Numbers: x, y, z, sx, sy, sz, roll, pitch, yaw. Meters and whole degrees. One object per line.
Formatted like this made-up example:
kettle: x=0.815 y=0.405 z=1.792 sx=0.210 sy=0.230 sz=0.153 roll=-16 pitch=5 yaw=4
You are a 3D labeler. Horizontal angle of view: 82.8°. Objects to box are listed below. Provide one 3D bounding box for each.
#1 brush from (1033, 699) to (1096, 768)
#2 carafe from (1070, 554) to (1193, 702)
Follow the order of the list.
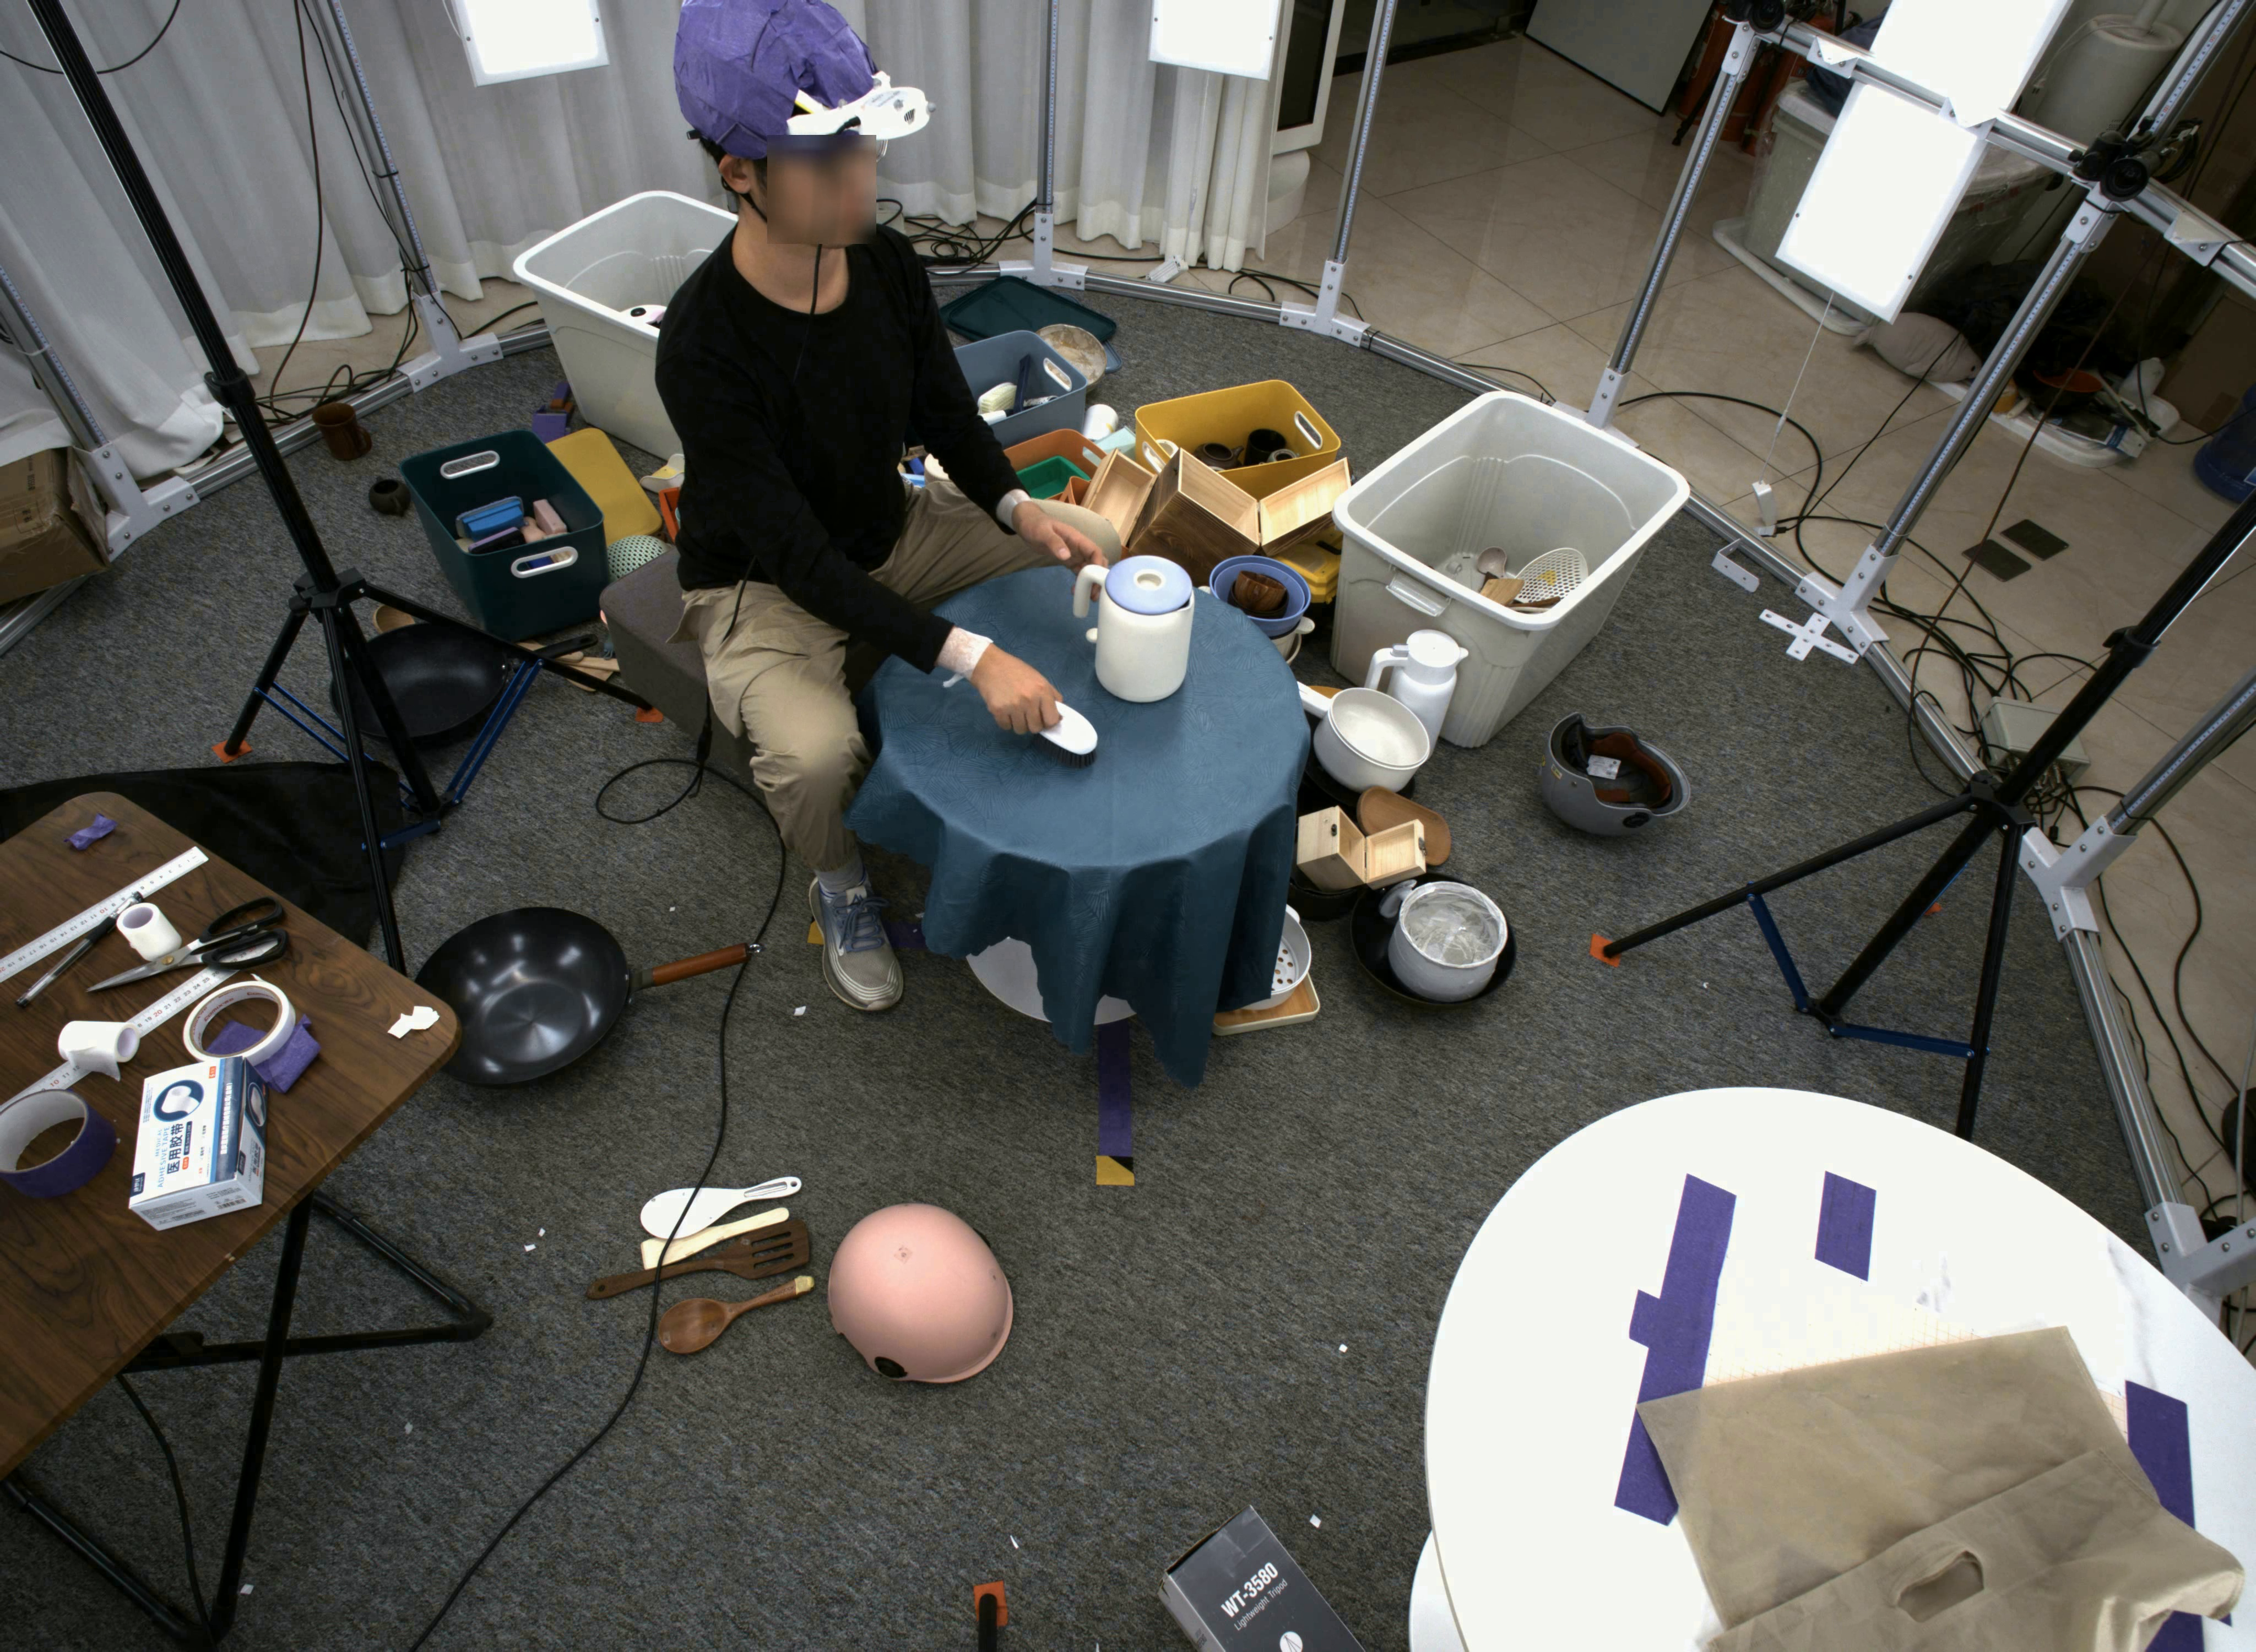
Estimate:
brush: x=-0.086 y=-0.133 z=1.731 sx=0.100 sy=0.071 sz=0.051 roll=34 pitch=56 yaw=23
carafe: x=0.001 y=-0.288 z=1.809 sx=0.193 sy=0.178 sz=0.134 roll=28 pitch=53 yaw=20
